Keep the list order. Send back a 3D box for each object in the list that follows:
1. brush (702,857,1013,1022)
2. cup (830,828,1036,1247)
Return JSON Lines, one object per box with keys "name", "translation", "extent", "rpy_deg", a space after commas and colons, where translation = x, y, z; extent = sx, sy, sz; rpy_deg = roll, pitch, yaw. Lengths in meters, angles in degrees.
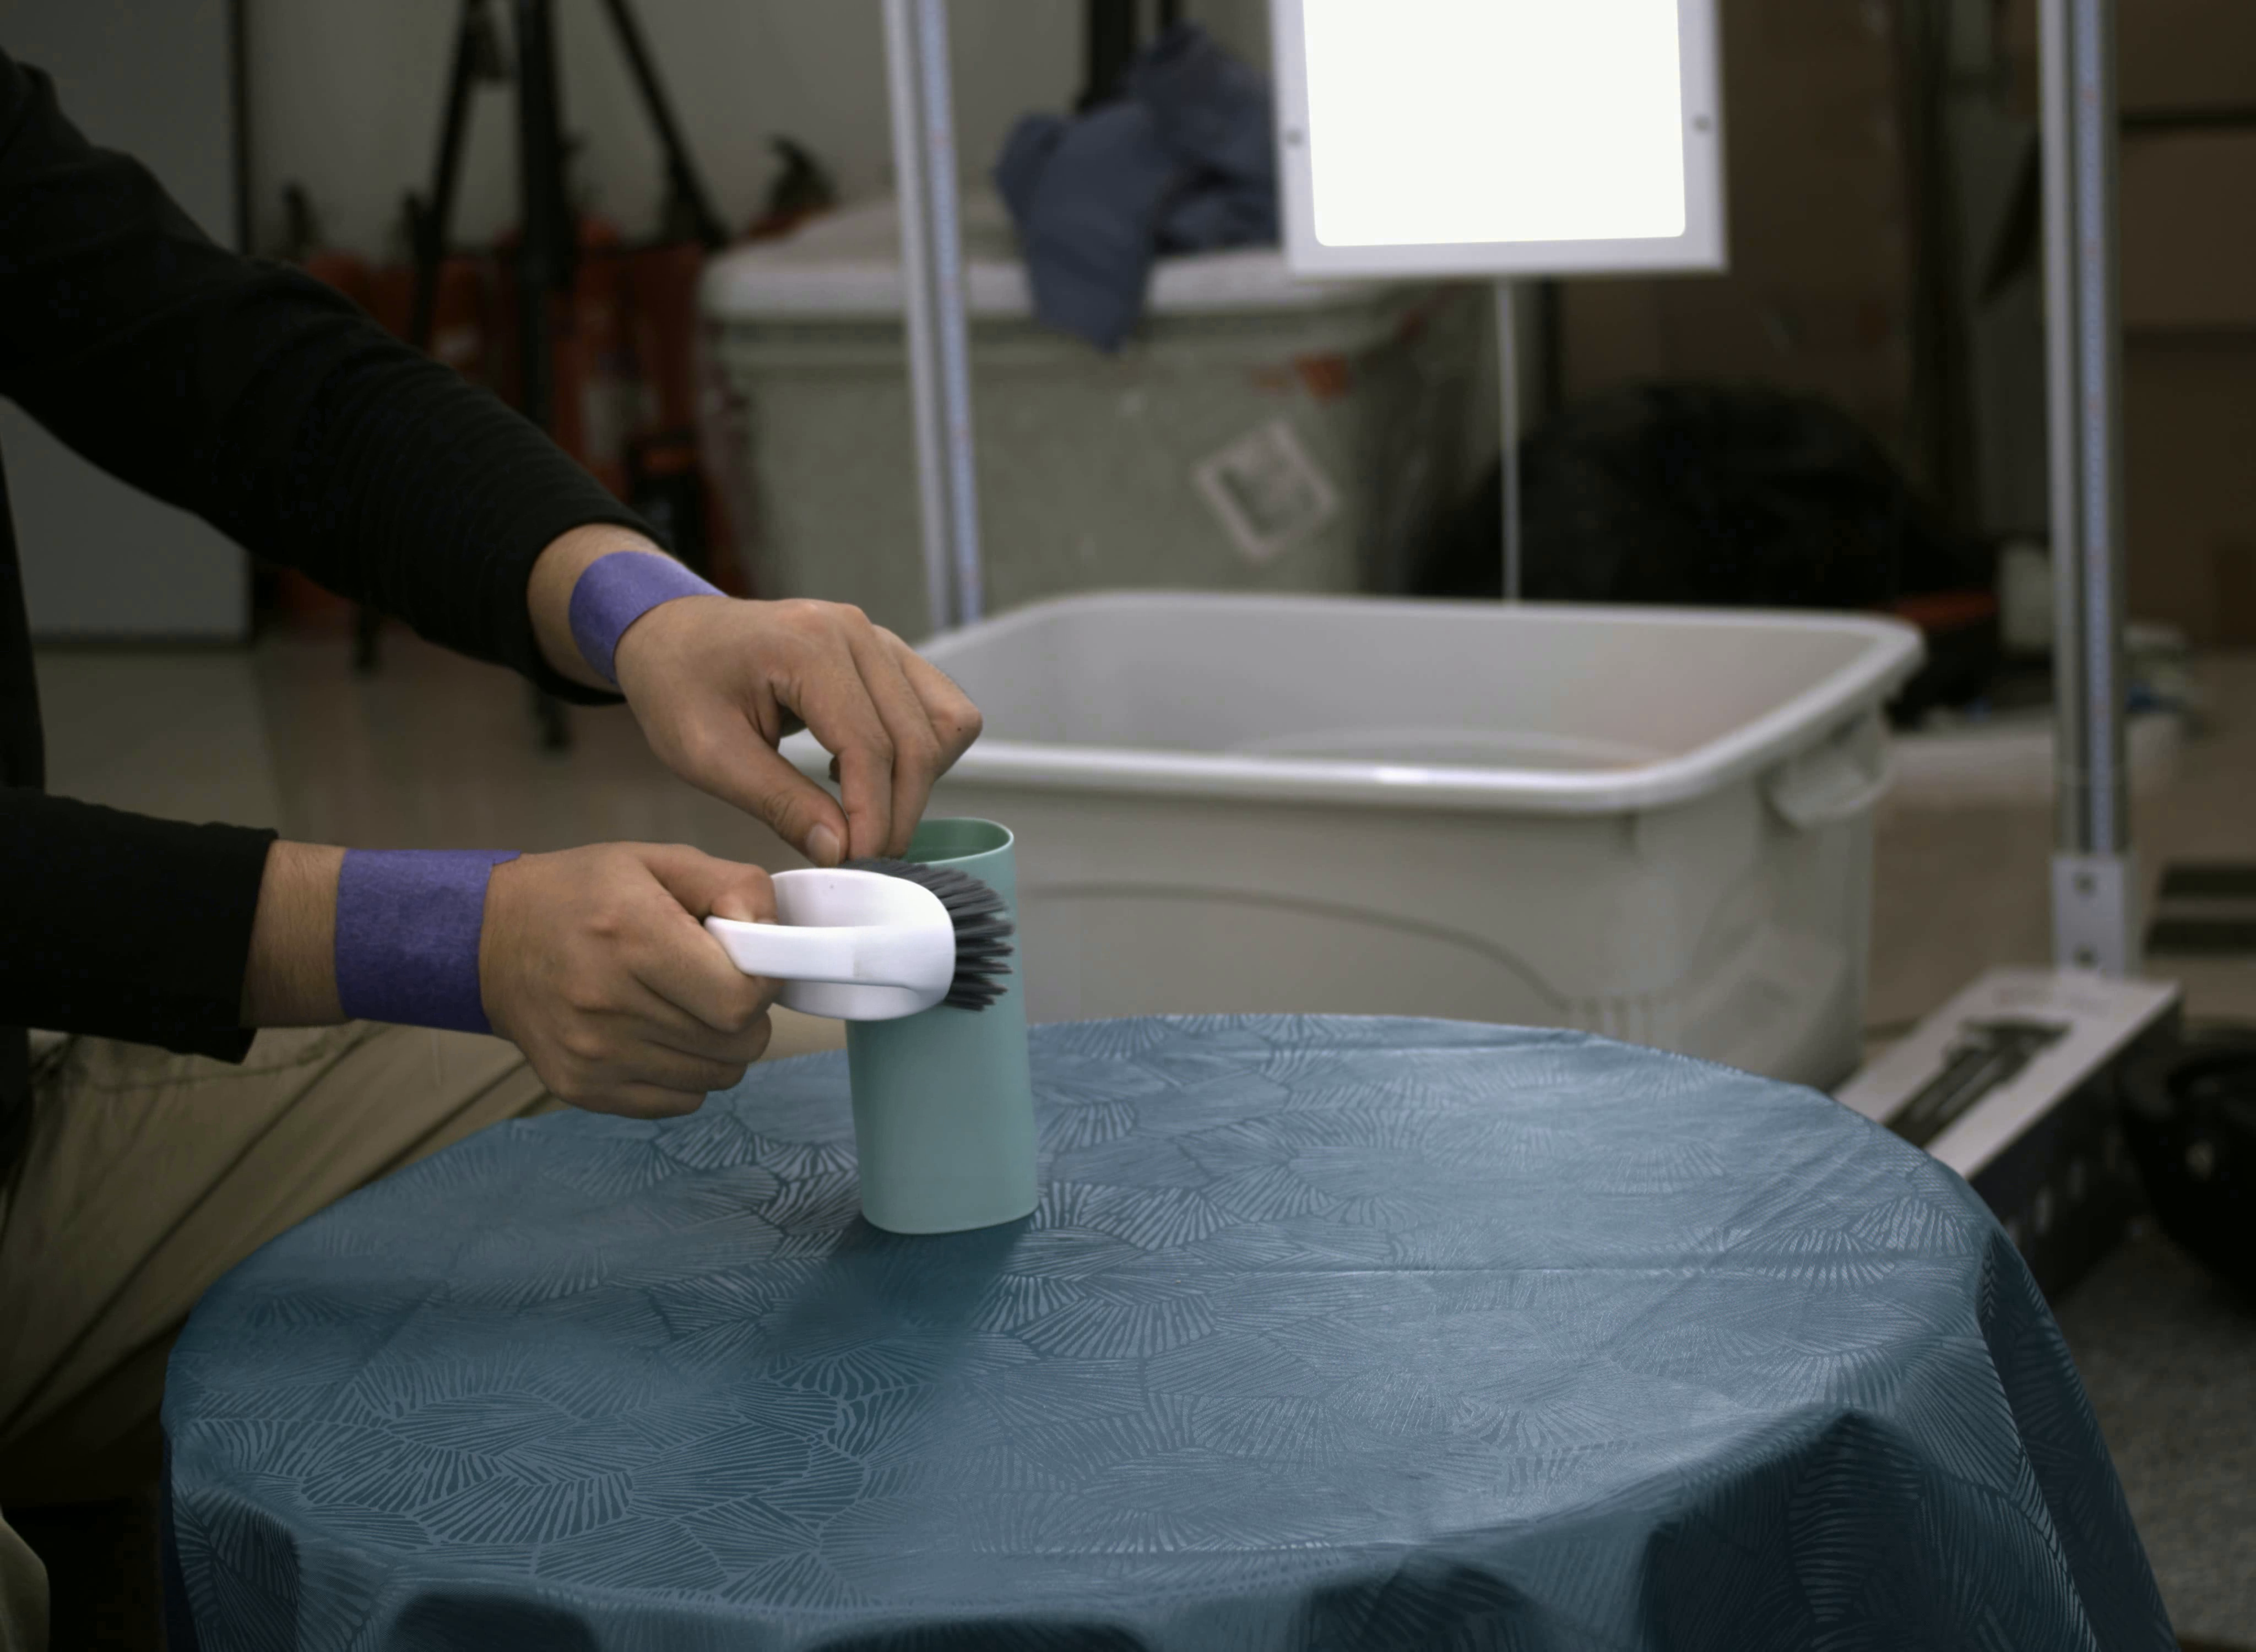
{"name": "brush", "translation": [-0.096, 0.039, 1.804], "extent": [0.070, 0.050, 0.101], "rpy_deg": [-4, 9, -45]}
{"name": "cup", "translation": [-0.066, 0.072, 1.885], "extent": [0.066, 0.133, 0.066], "rpy_deg": [-4, 14, 0]}
